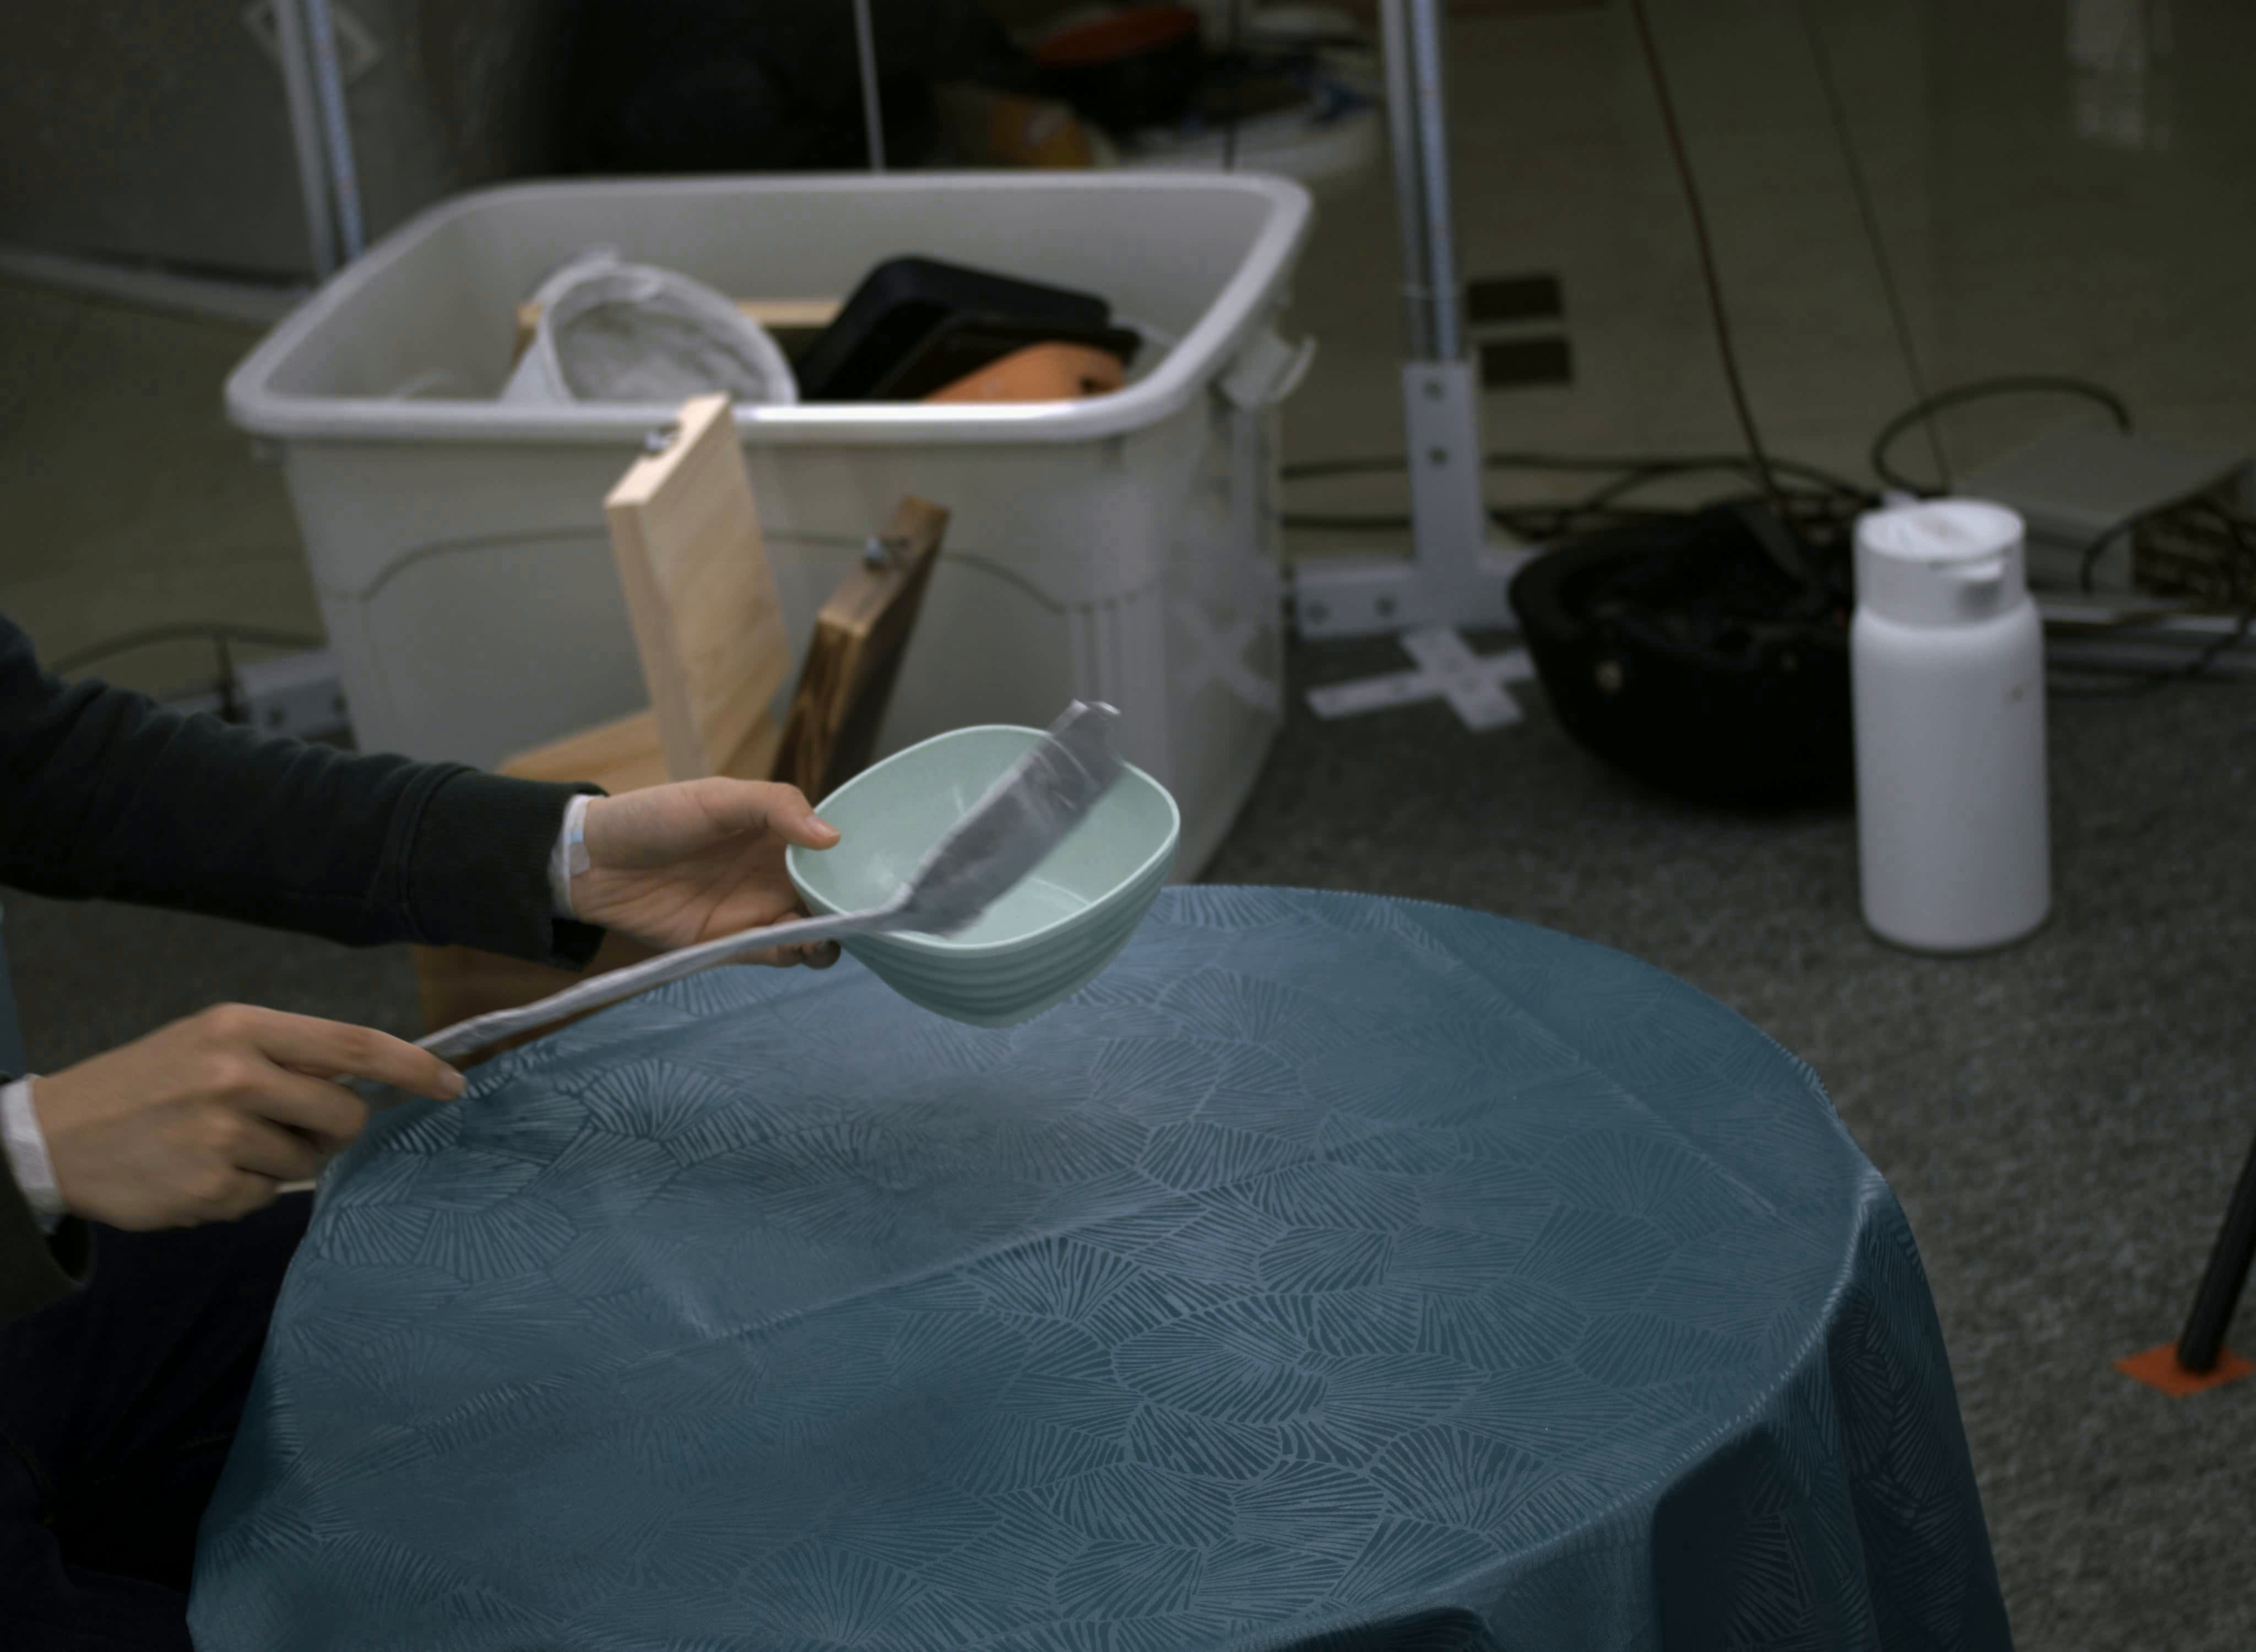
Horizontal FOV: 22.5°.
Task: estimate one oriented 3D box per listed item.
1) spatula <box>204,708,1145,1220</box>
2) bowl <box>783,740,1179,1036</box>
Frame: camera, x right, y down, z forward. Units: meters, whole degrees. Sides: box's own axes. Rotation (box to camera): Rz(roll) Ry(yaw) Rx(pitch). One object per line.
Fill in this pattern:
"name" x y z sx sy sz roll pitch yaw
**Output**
"spatula" -0.158 0.050 1.964 0.364 0.044 0.099 -20 -16 -3
"bowl" -0.054 0.030 2.166 0.151 0.060 0.149 -4 32 2
